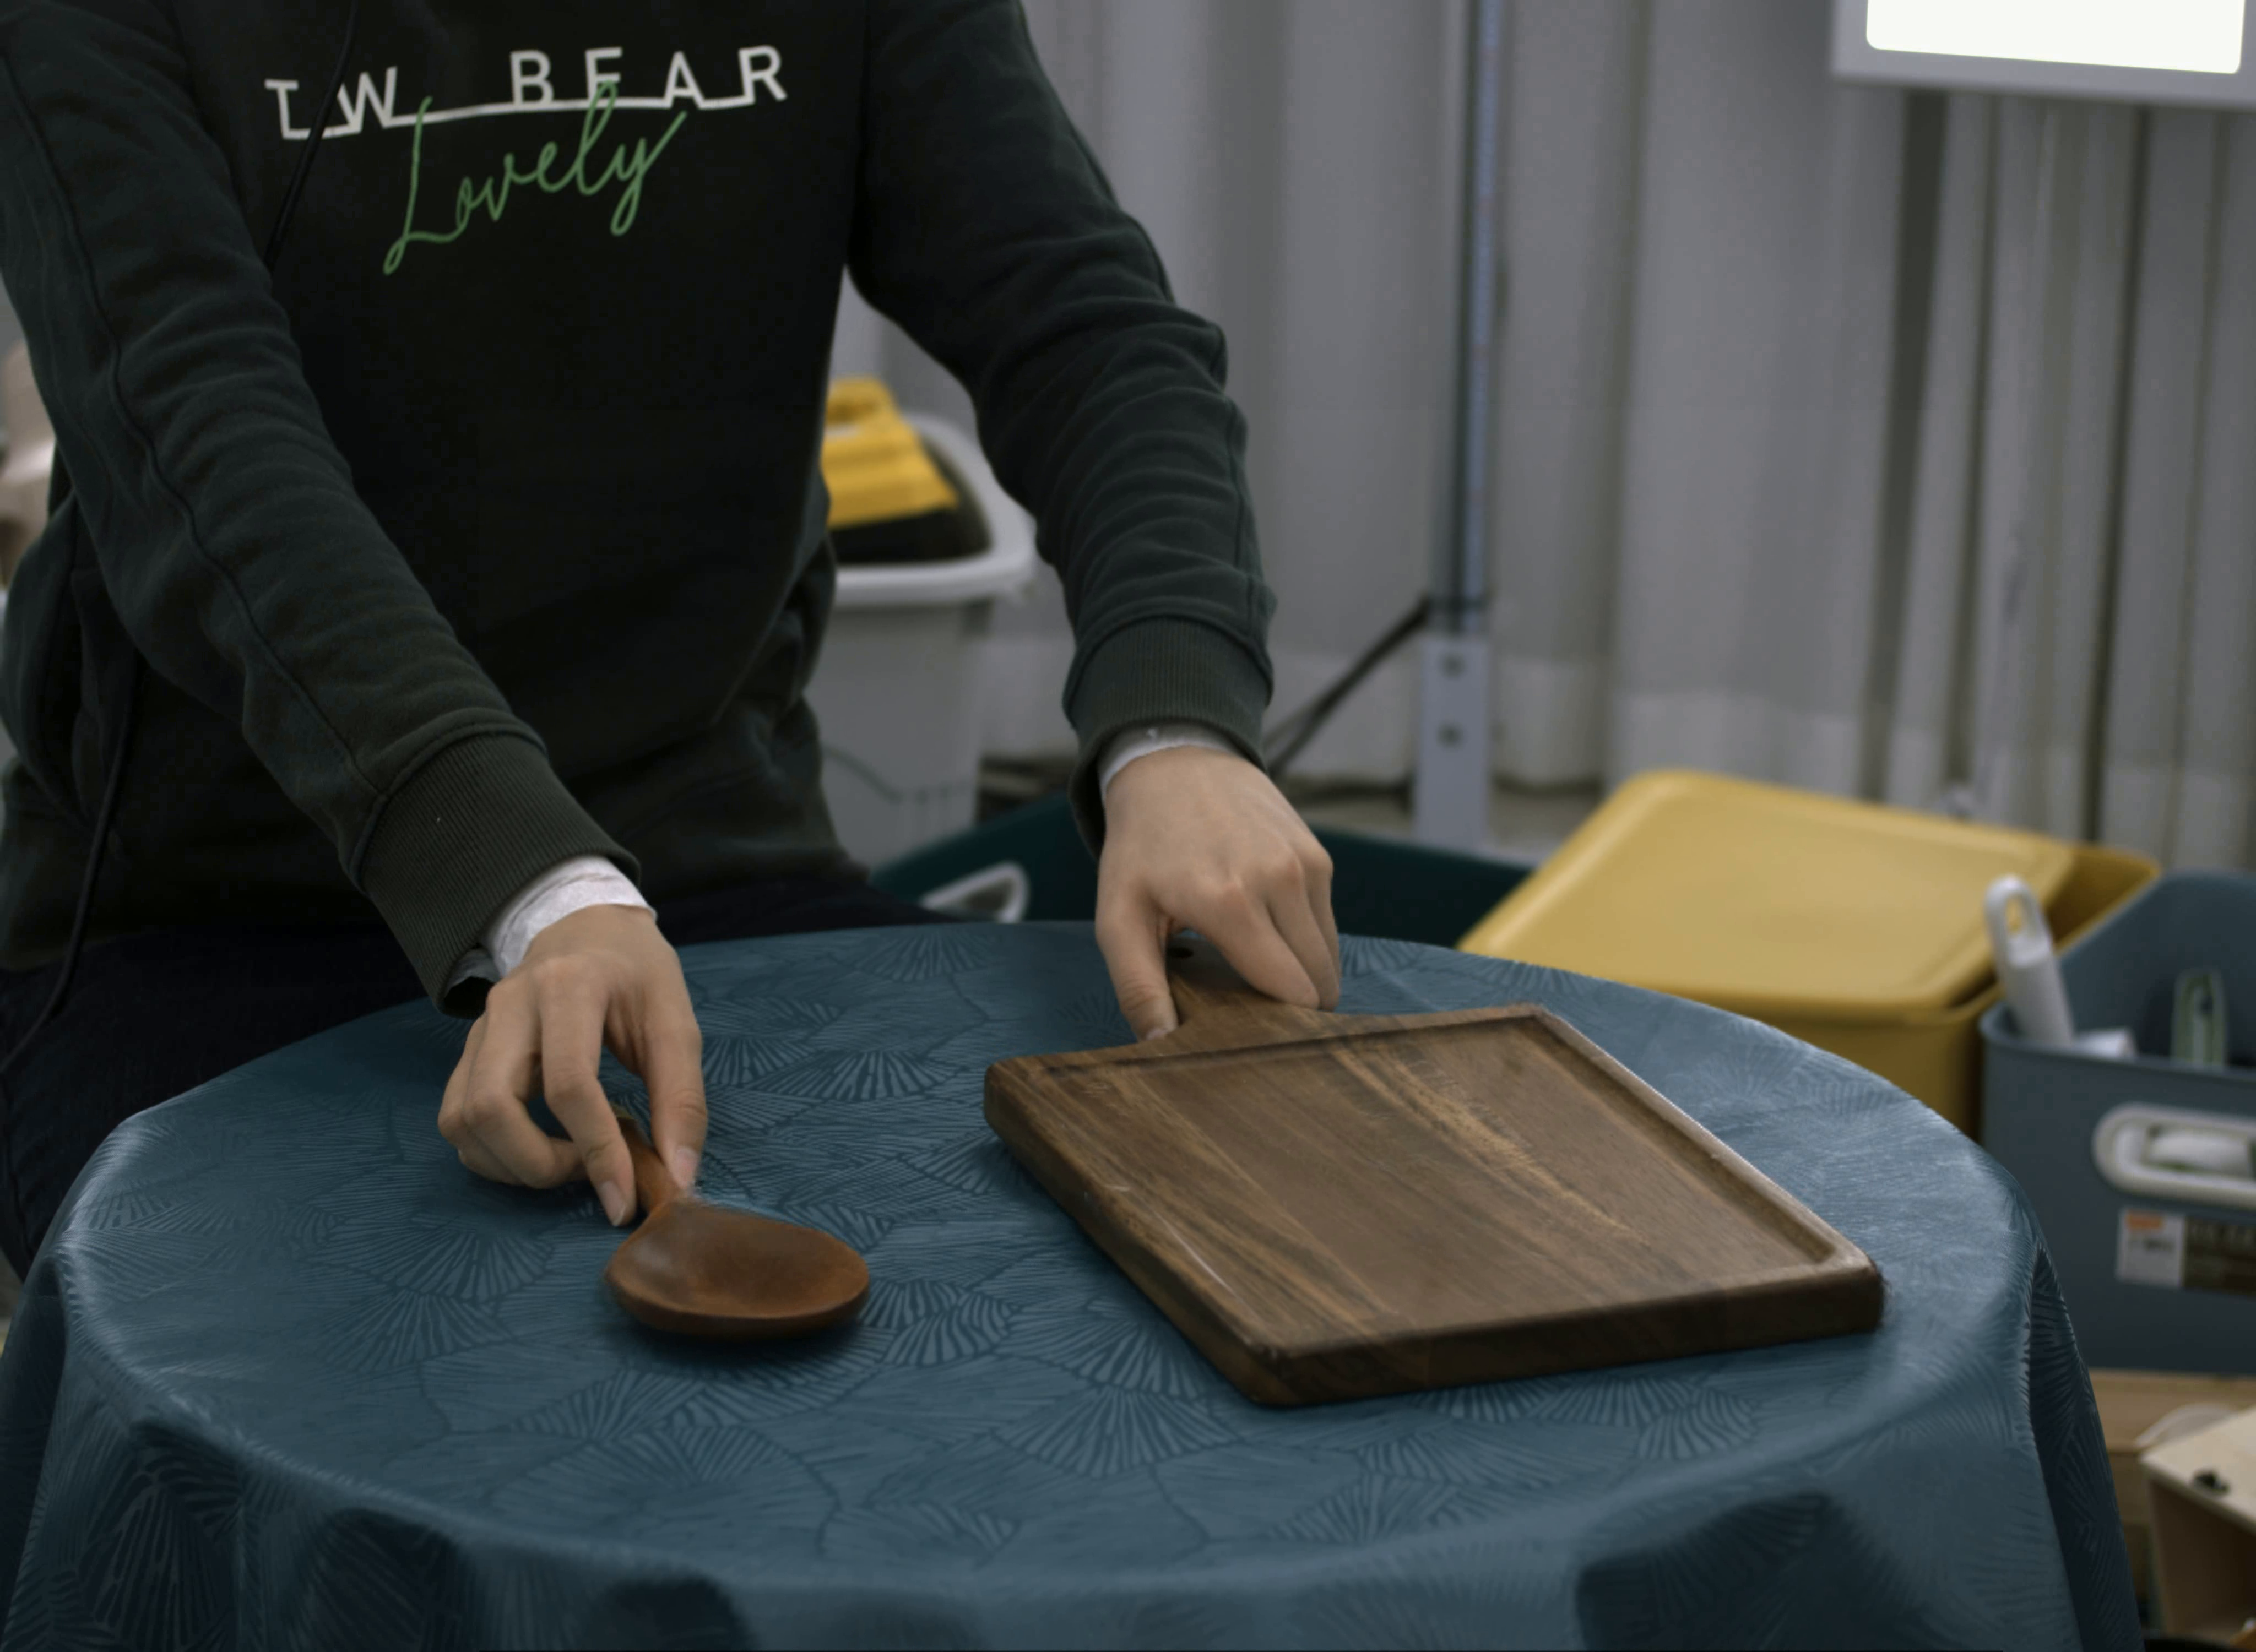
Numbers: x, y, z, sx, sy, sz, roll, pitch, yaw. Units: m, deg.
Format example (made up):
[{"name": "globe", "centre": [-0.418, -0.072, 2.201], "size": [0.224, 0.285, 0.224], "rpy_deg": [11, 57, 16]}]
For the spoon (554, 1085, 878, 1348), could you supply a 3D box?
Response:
[{"name": "spoon", "centre": [-0.133, 0.117, 1.572], "size": [0.075, 0.017, 0.213], "rpy_deg": [-7, 18, -20]}]

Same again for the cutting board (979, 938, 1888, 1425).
[{"name": "cutting board", "centre": [0.069, 0.097, 1.634], "size": [0.201, 0.023, 0.348], "rpy_deg": [-6, 19, -19]}]
